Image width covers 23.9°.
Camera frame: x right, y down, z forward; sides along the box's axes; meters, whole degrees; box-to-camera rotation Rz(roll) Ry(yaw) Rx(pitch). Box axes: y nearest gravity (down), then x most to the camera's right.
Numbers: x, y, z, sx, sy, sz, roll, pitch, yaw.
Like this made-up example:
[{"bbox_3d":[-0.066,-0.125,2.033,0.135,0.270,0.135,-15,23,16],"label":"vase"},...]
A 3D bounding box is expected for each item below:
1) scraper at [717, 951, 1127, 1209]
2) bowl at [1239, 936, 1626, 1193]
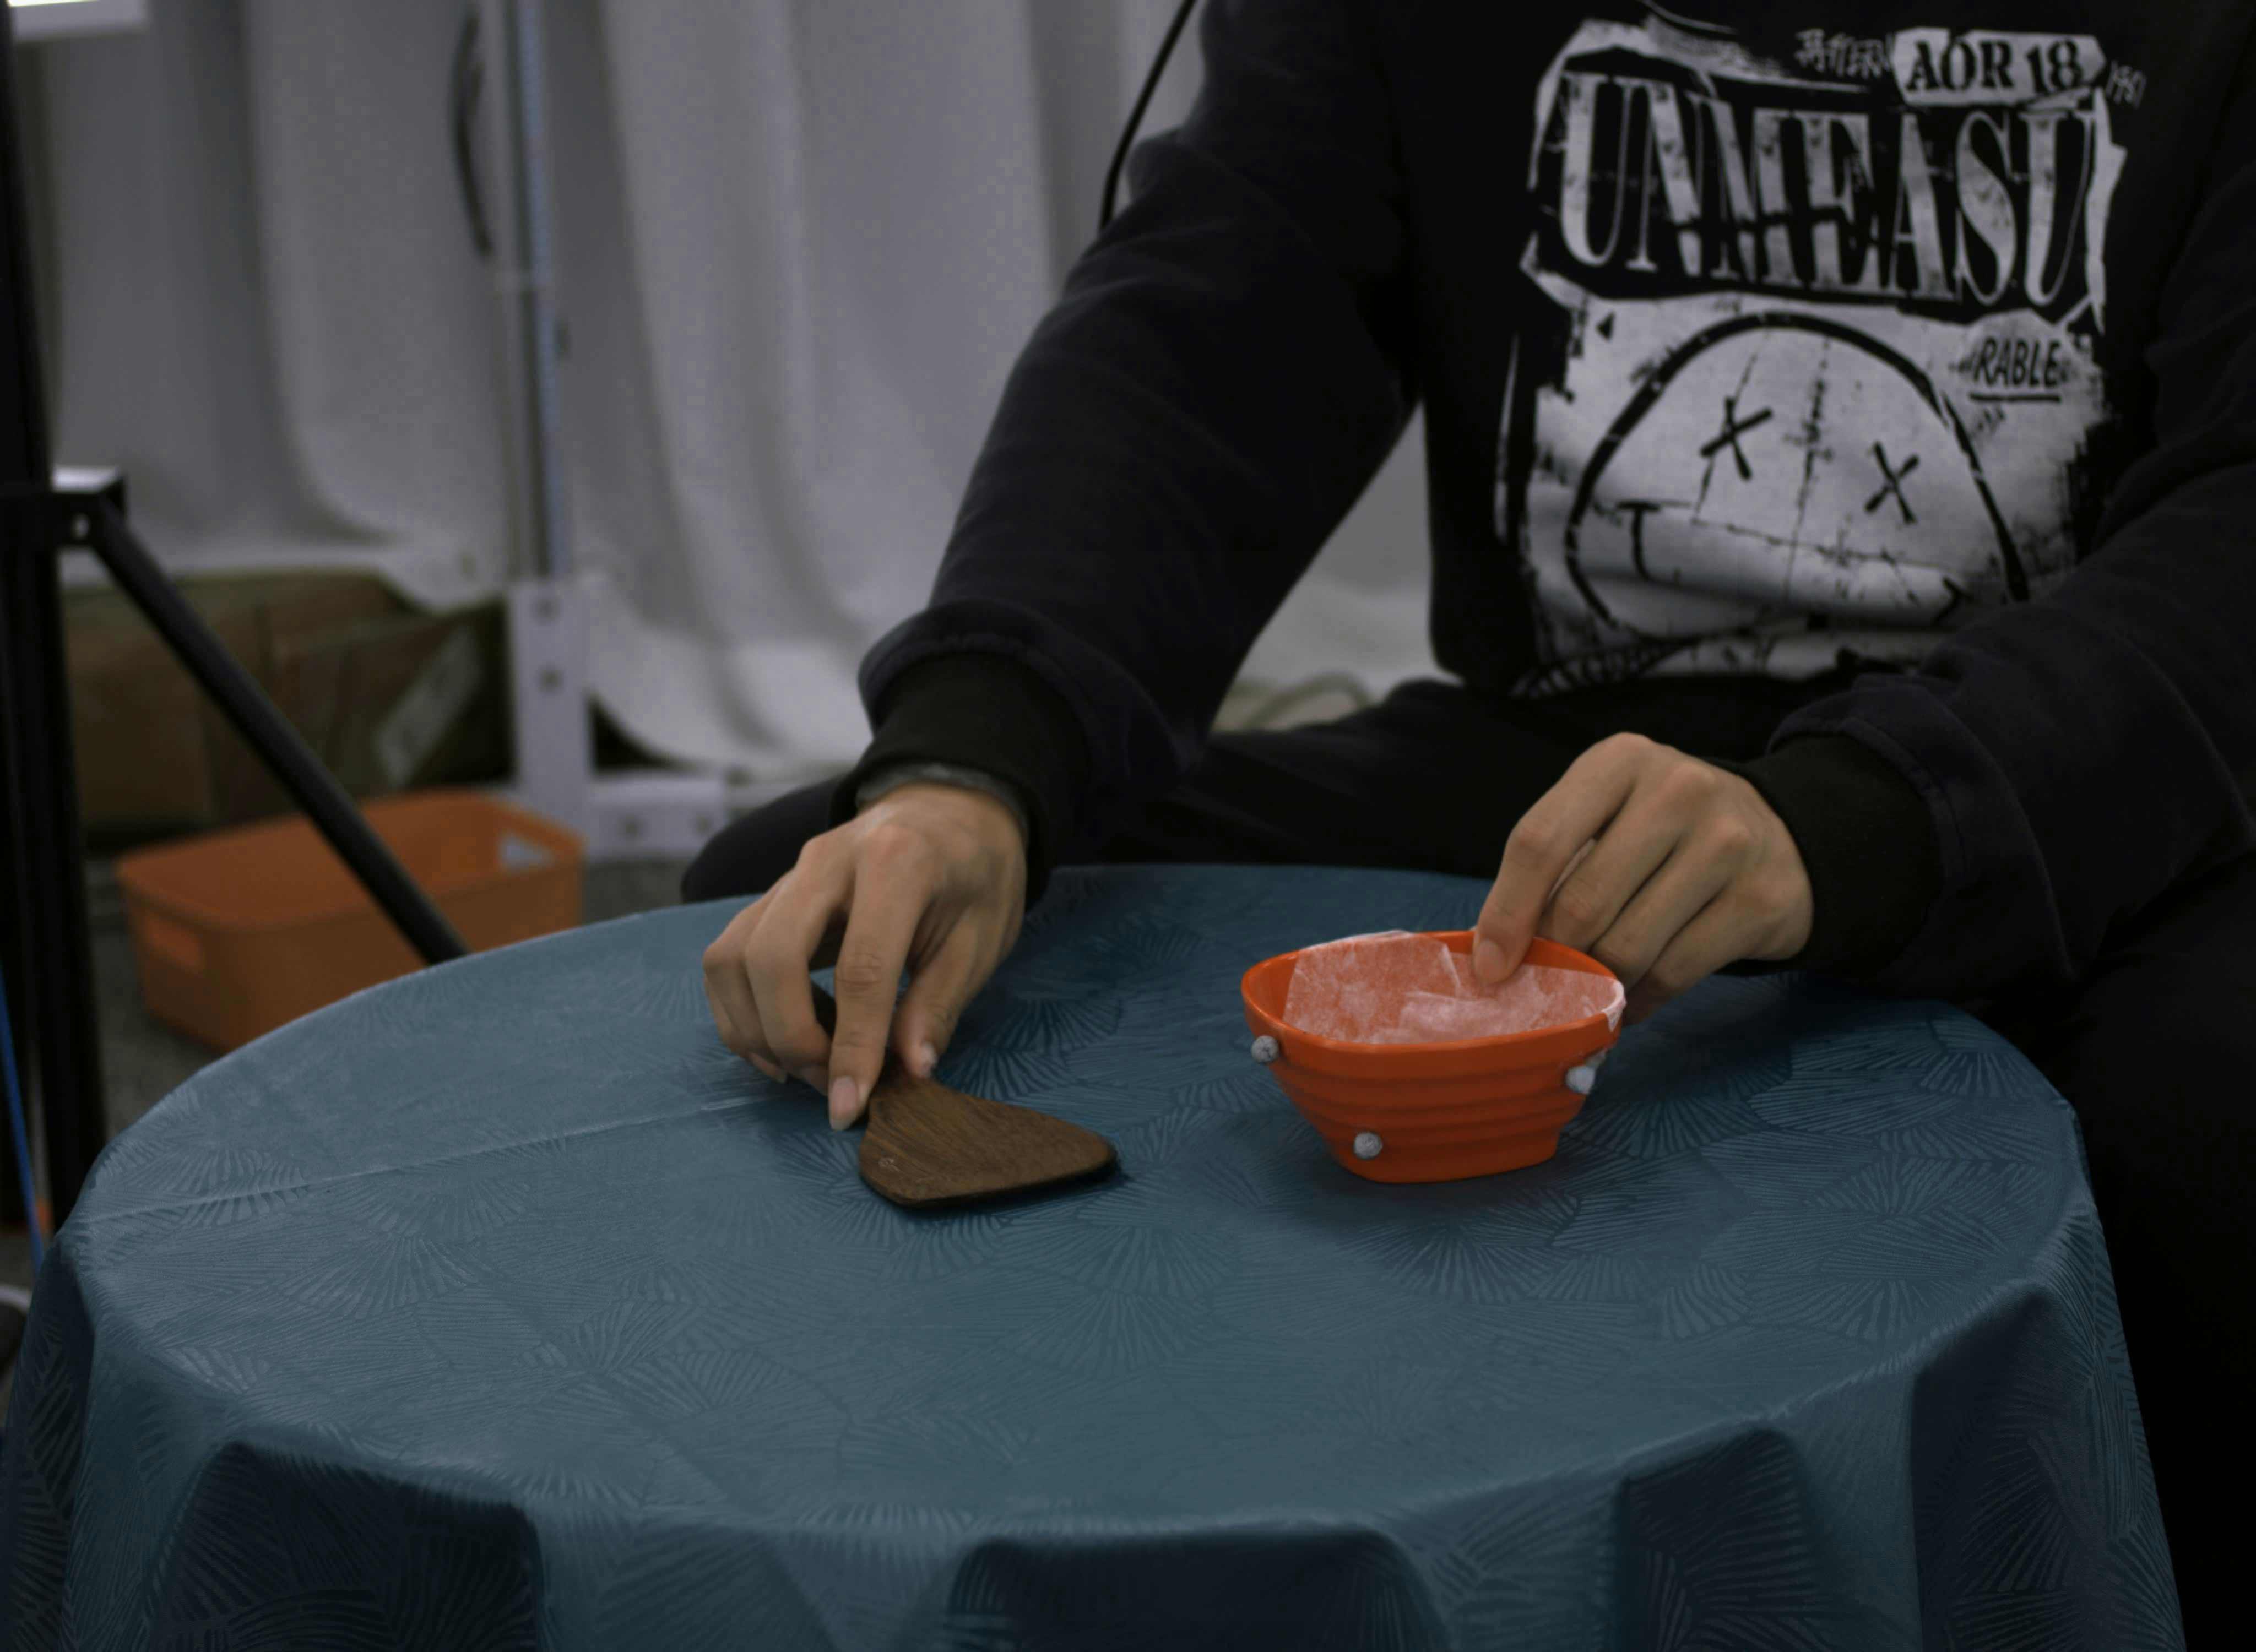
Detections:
[{"bbox_3d":[-0.076,0.077,1.643,0.074,0.011,0.216,-9,22,-24],"label":"scraper"},{"bbox_3d":[0.092,0.073,1.580,0.118,0.051,0.119,-4,15,0],"label":"bowl"}]
